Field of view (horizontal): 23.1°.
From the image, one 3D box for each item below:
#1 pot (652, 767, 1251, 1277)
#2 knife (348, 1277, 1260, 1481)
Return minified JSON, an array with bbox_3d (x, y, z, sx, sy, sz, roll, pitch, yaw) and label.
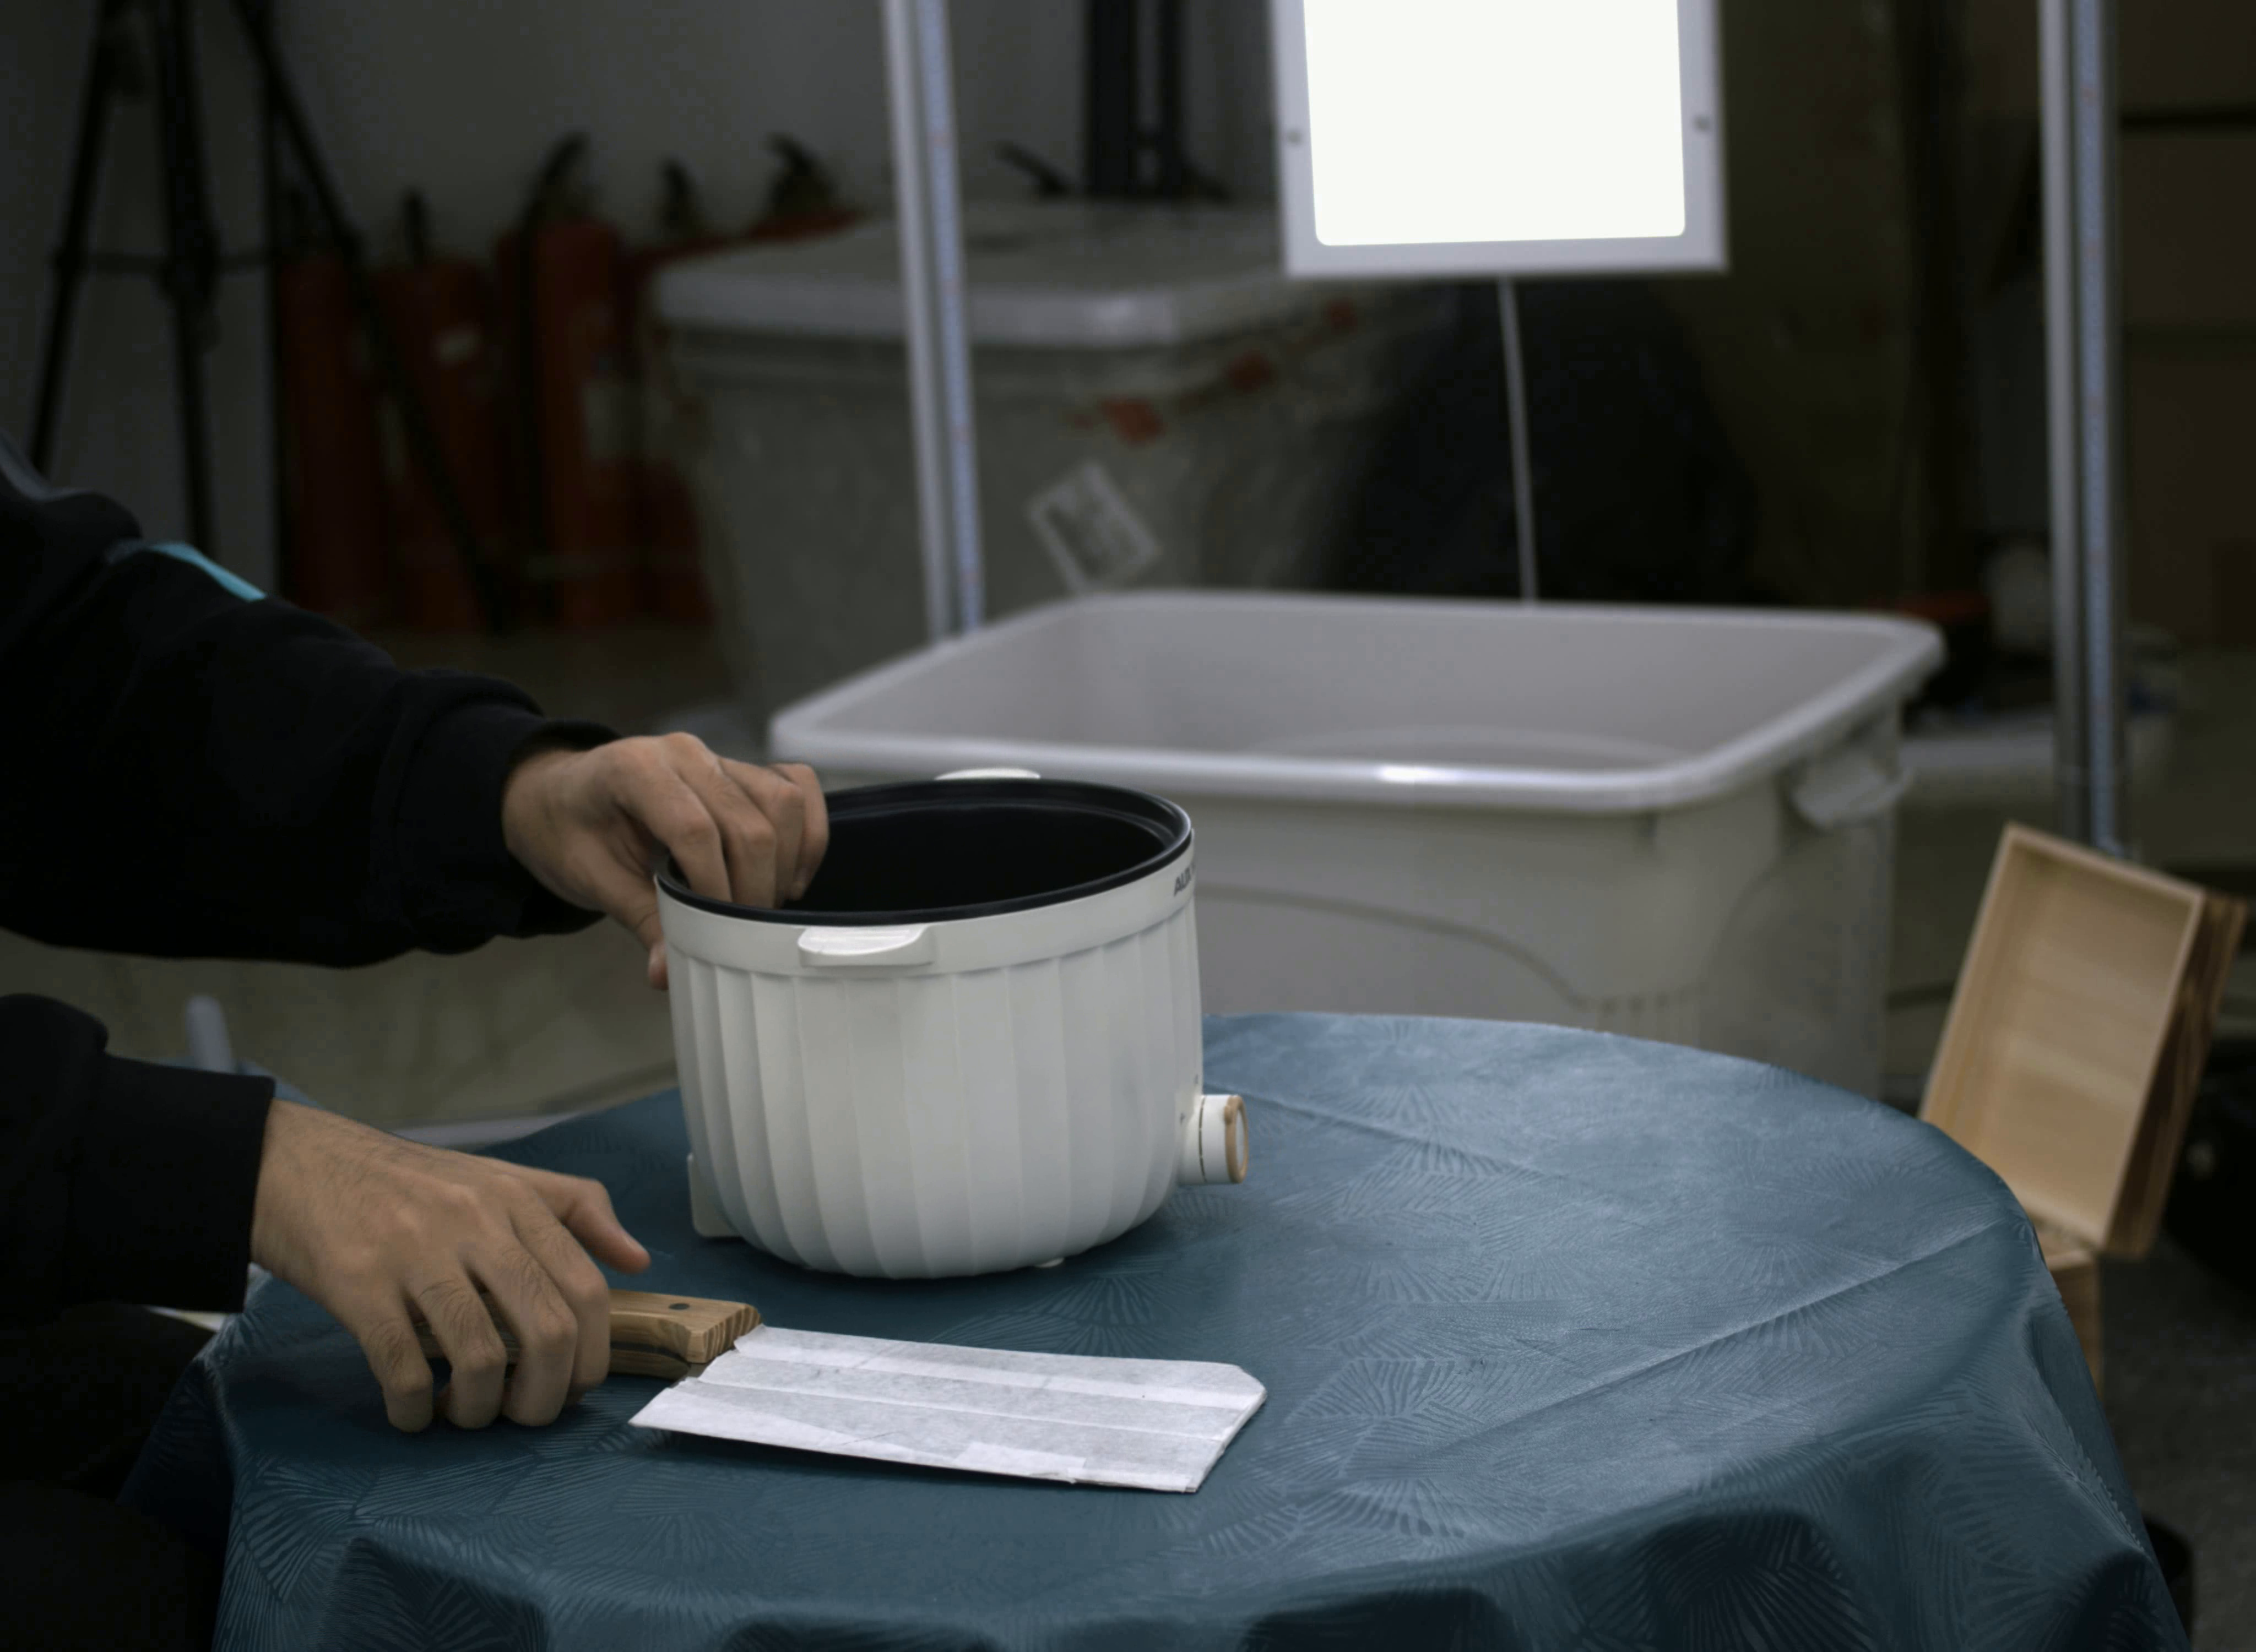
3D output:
[{"bbox_3d":[-0.058,0.068,1.861,0.192,0.143,0.238,-5,15,13],"label":"pot"},{"bbox_3d":[-0.105,0.171,1.718,0.320,0.022,0.111,5,17,26],"label":"knife"}]
